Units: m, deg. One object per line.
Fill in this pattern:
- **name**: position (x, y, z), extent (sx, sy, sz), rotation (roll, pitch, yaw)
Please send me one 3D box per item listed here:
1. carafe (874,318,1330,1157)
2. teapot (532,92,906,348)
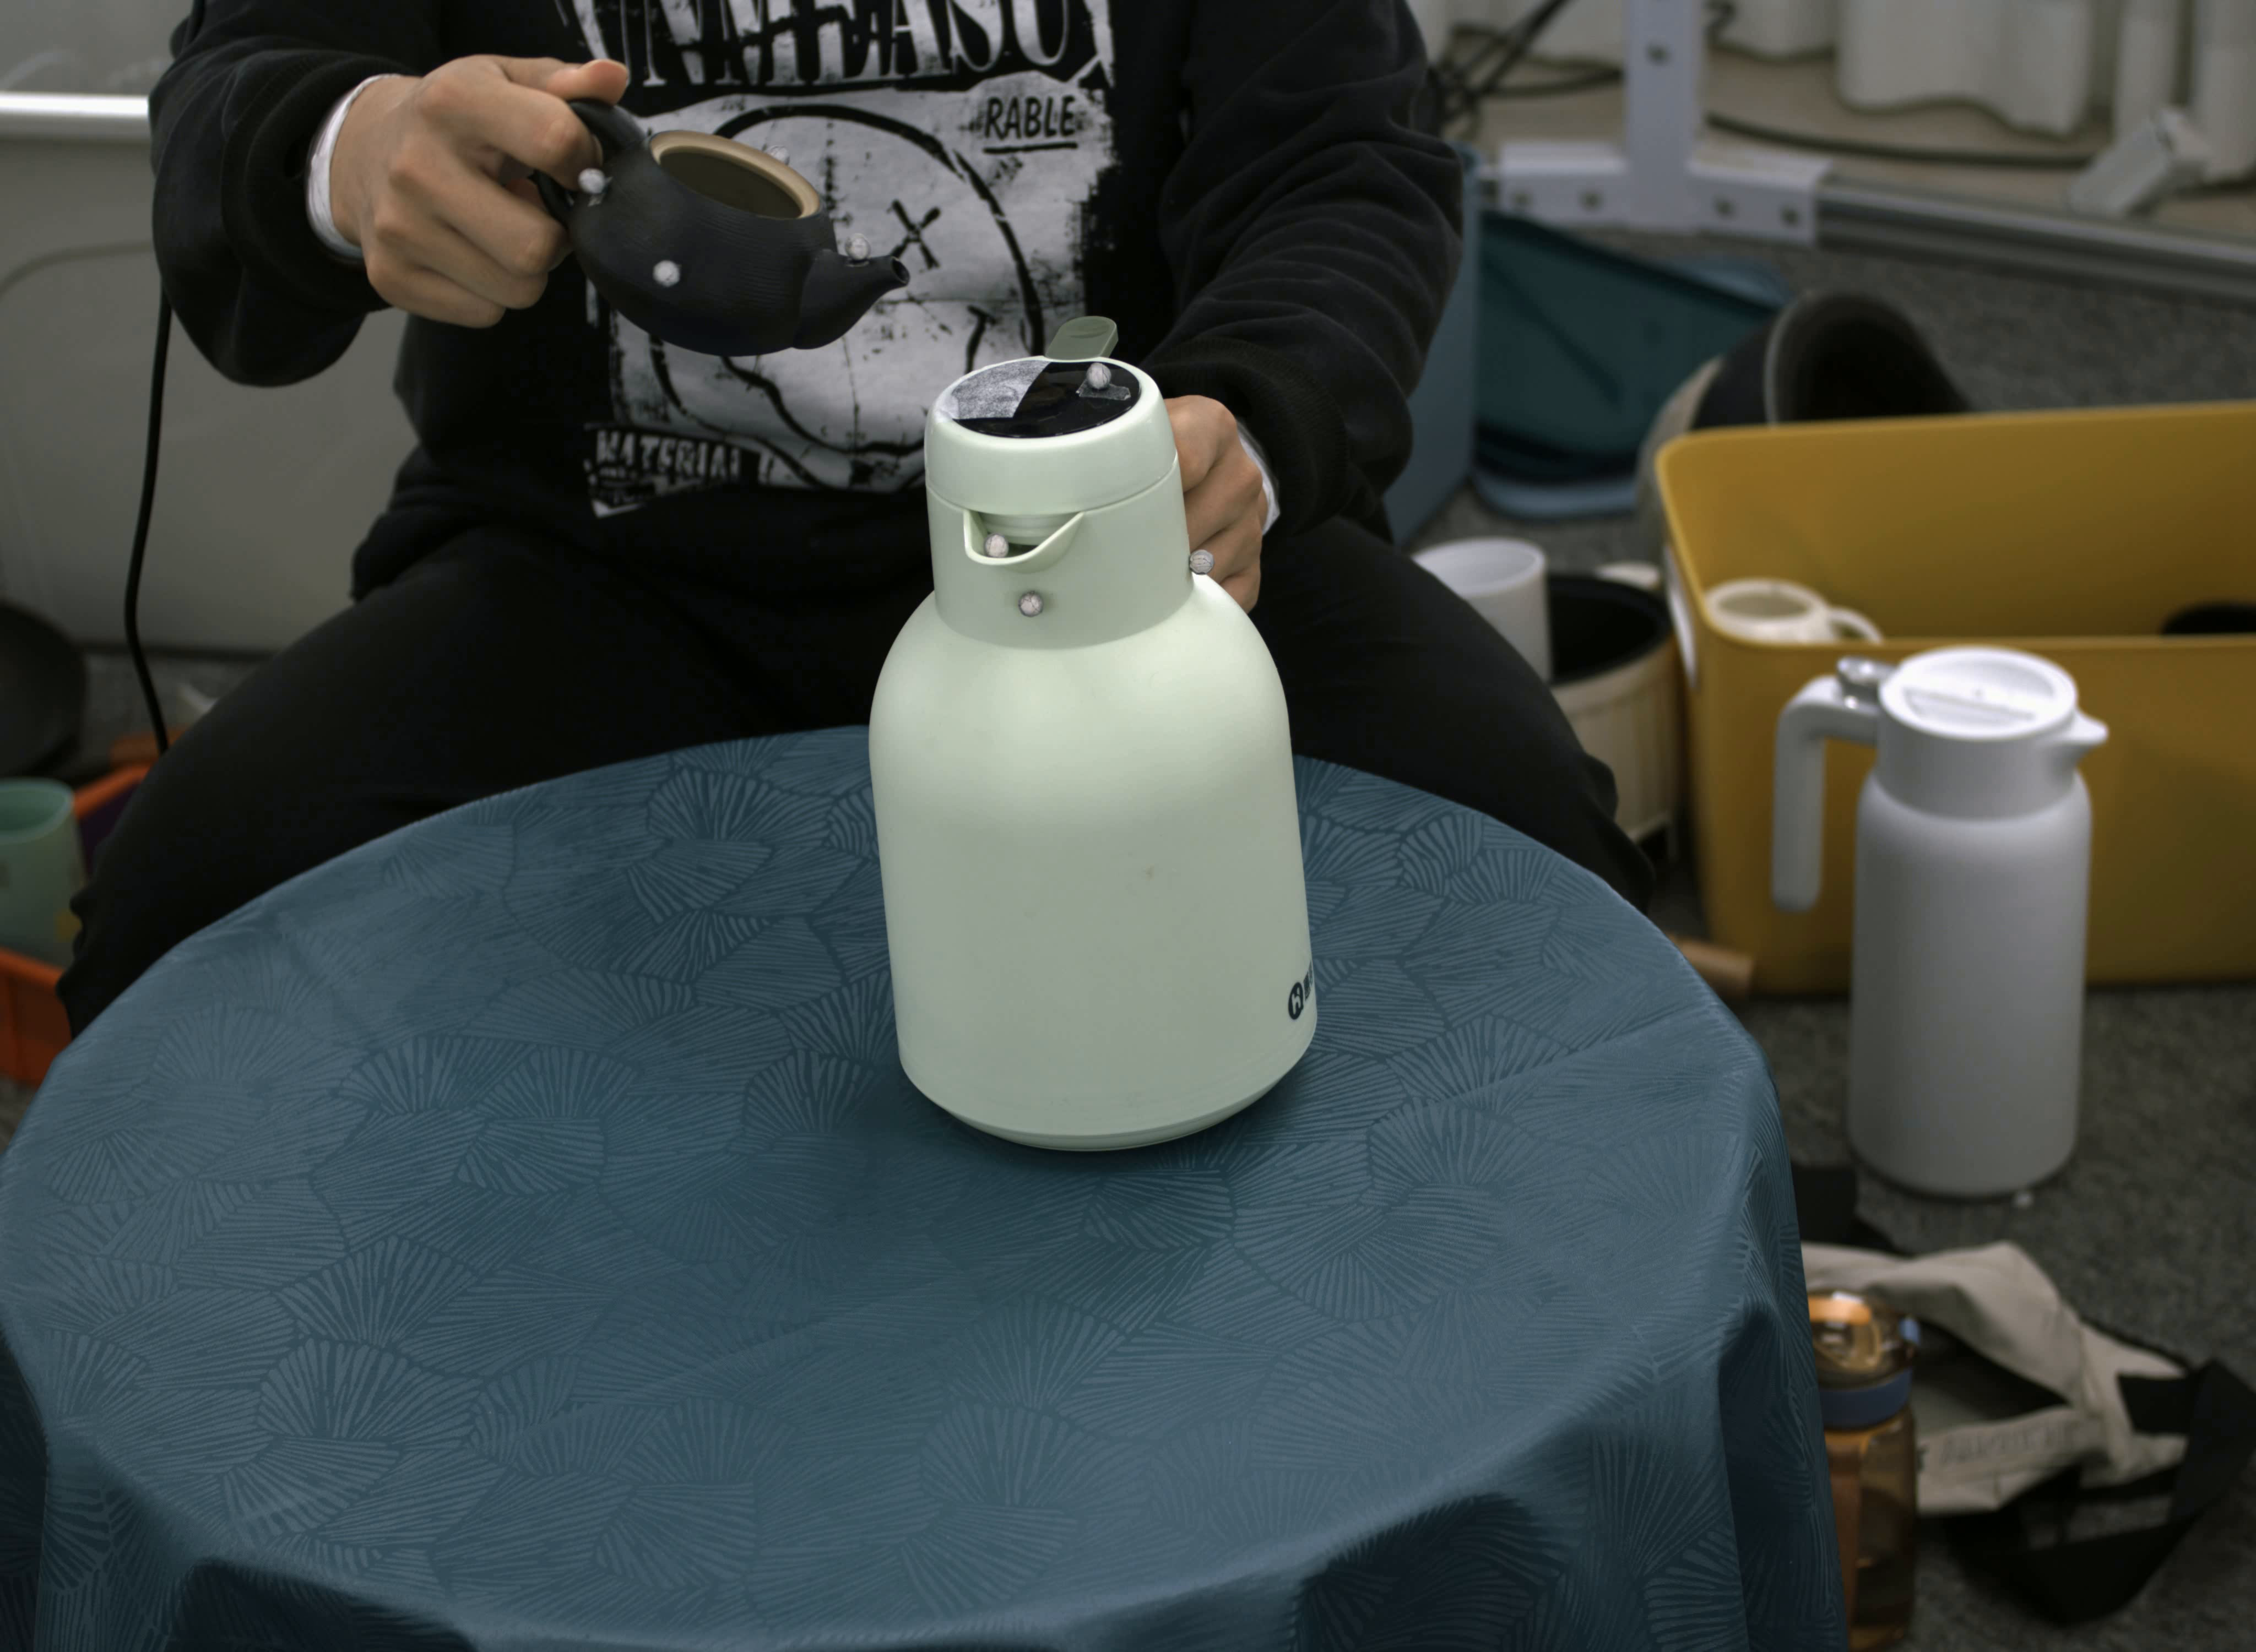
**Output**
- **carafe**: position (-0.011, -0.035, 1.891), extent (0.143, 0.254, 0.190), rotation (0, 23, 14)
- **teapot**: position (-0.136, -0.190, 1.821), extent (0.133, 0.052, 0.092), rotation (29, 24, 10)
